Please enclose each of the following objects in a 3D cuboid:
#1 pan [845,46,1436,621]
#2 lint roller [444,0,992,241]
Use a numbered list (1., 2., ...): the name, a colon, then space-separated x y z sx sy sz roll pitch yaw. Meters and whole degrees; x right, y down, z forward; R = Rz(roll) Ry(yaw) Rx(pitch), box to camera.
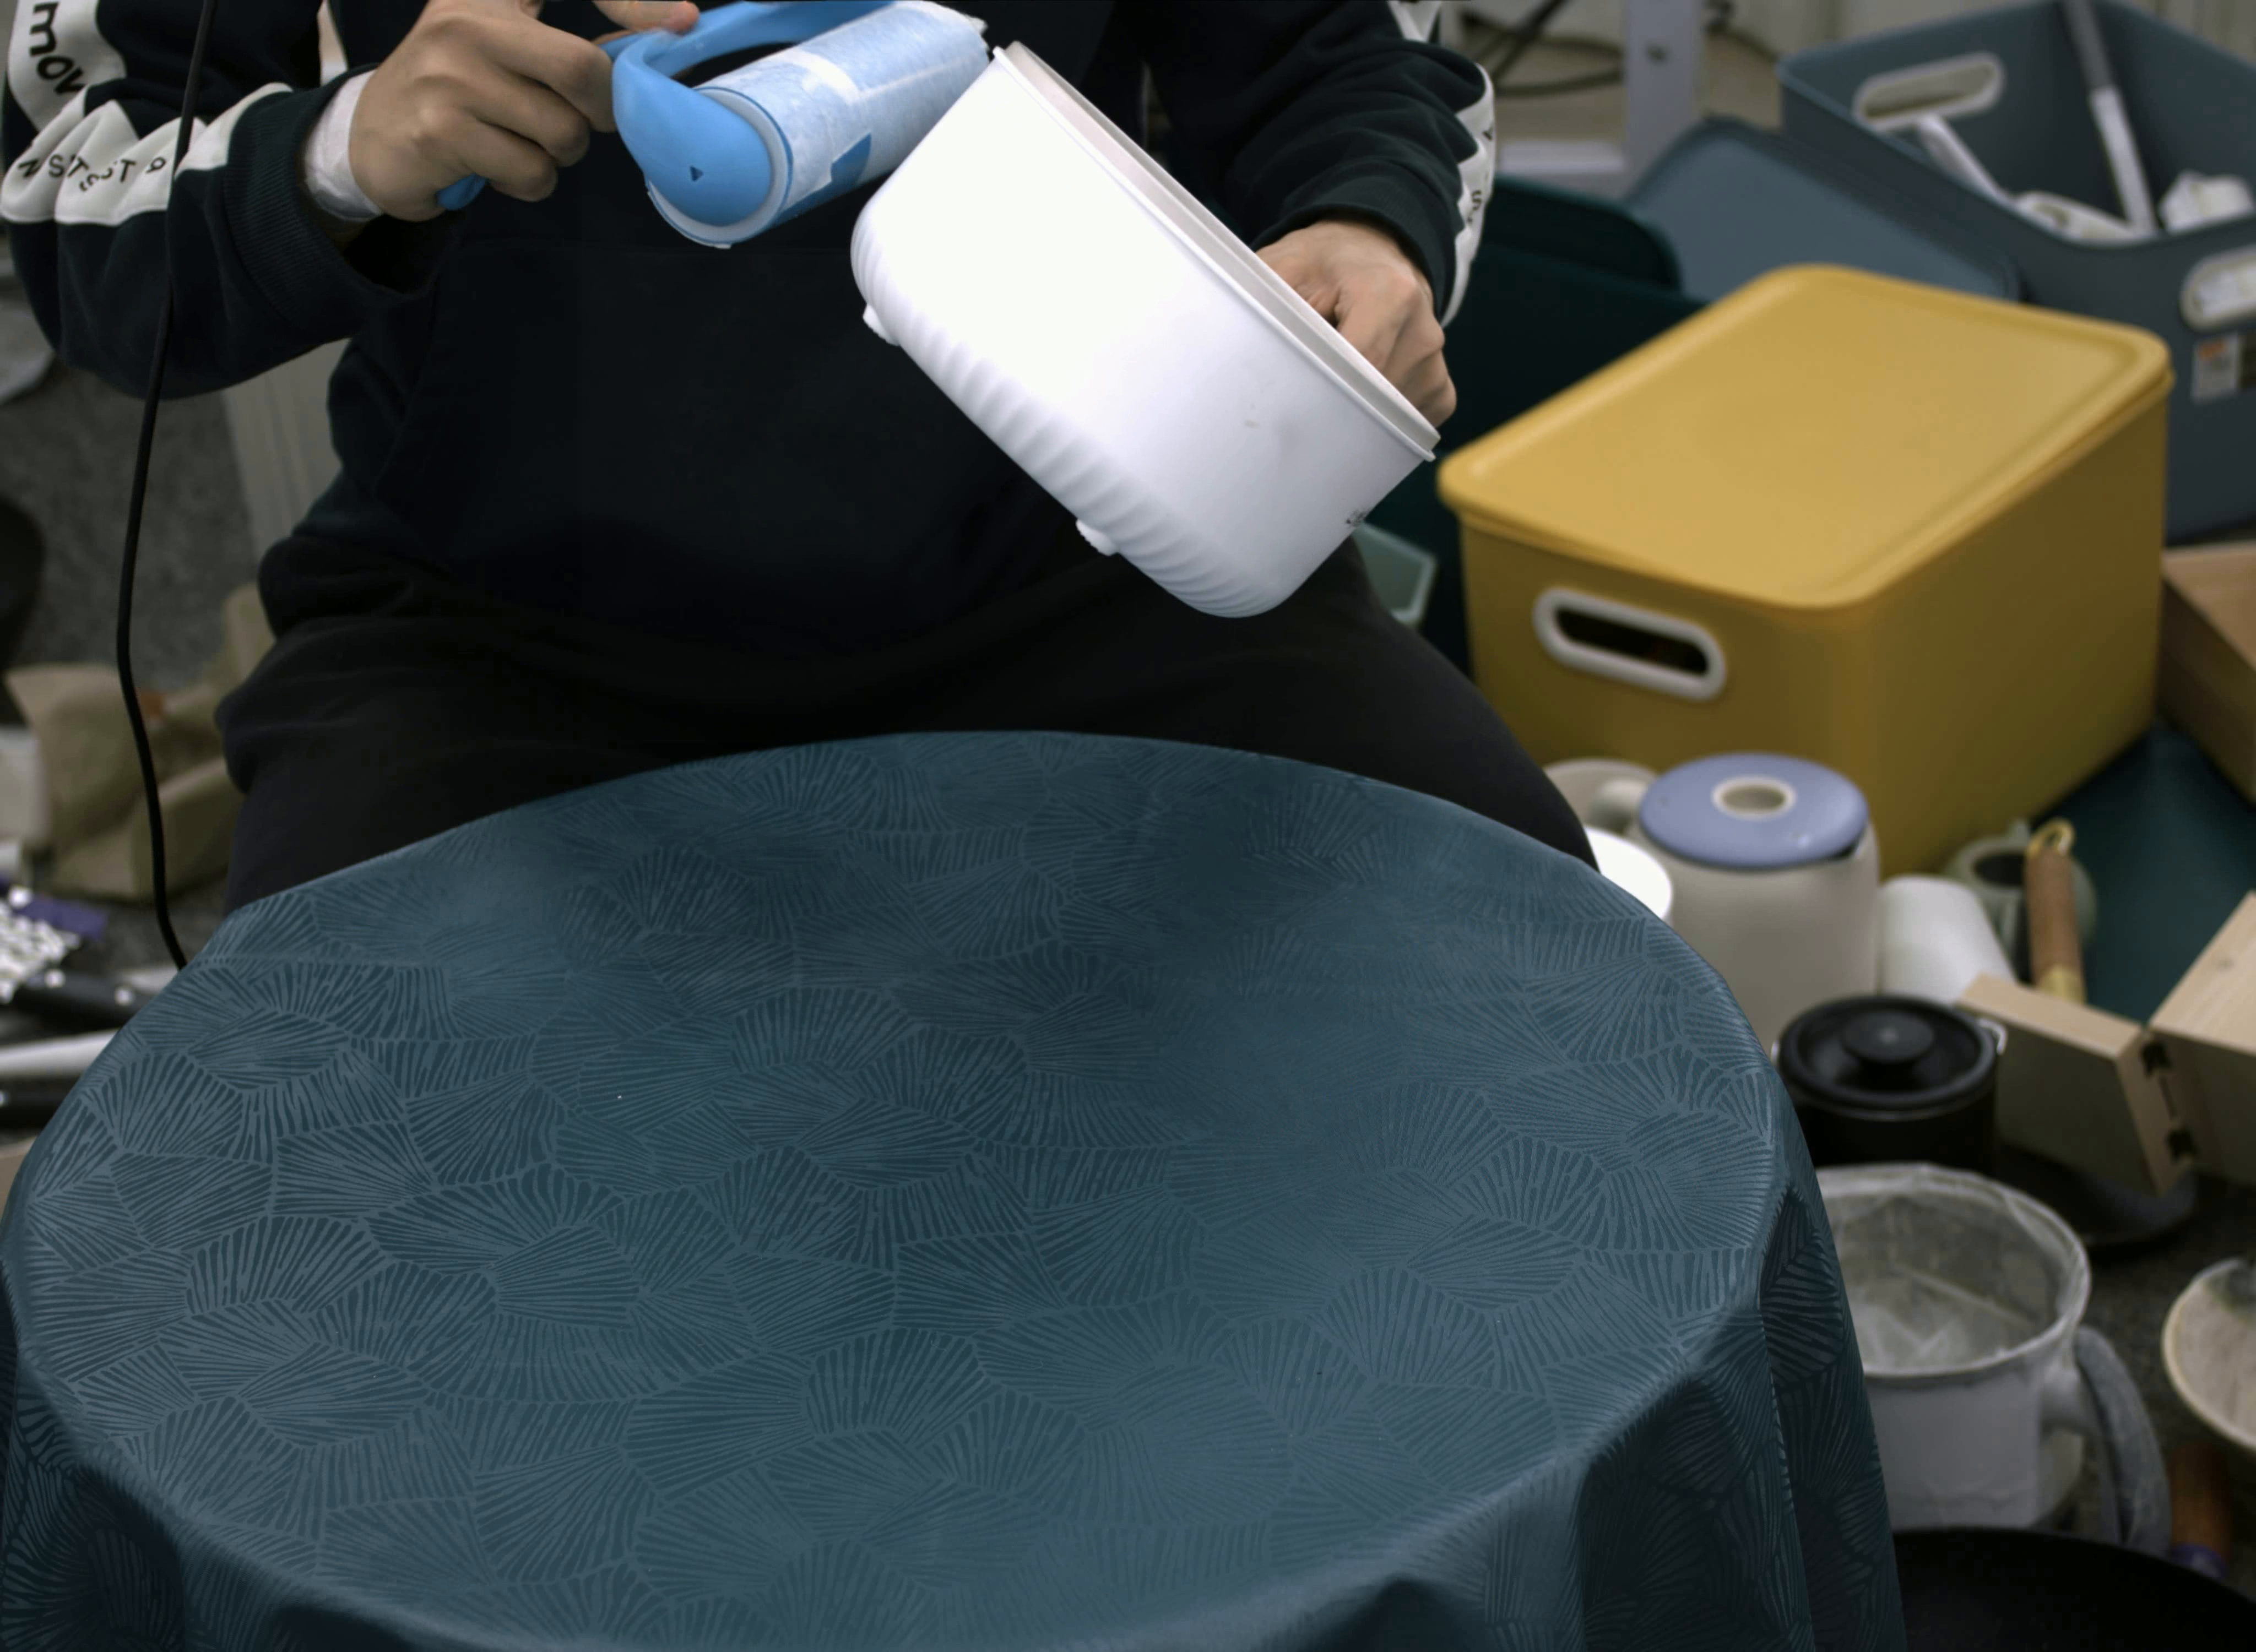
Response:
1. pan: 0.015 -0.151 1.963 0.202 0.102 0.354 43 4 13
2. lint roller: -0.160 -0.248 1.968 0.179 0.067 0.232 -1 18 16
